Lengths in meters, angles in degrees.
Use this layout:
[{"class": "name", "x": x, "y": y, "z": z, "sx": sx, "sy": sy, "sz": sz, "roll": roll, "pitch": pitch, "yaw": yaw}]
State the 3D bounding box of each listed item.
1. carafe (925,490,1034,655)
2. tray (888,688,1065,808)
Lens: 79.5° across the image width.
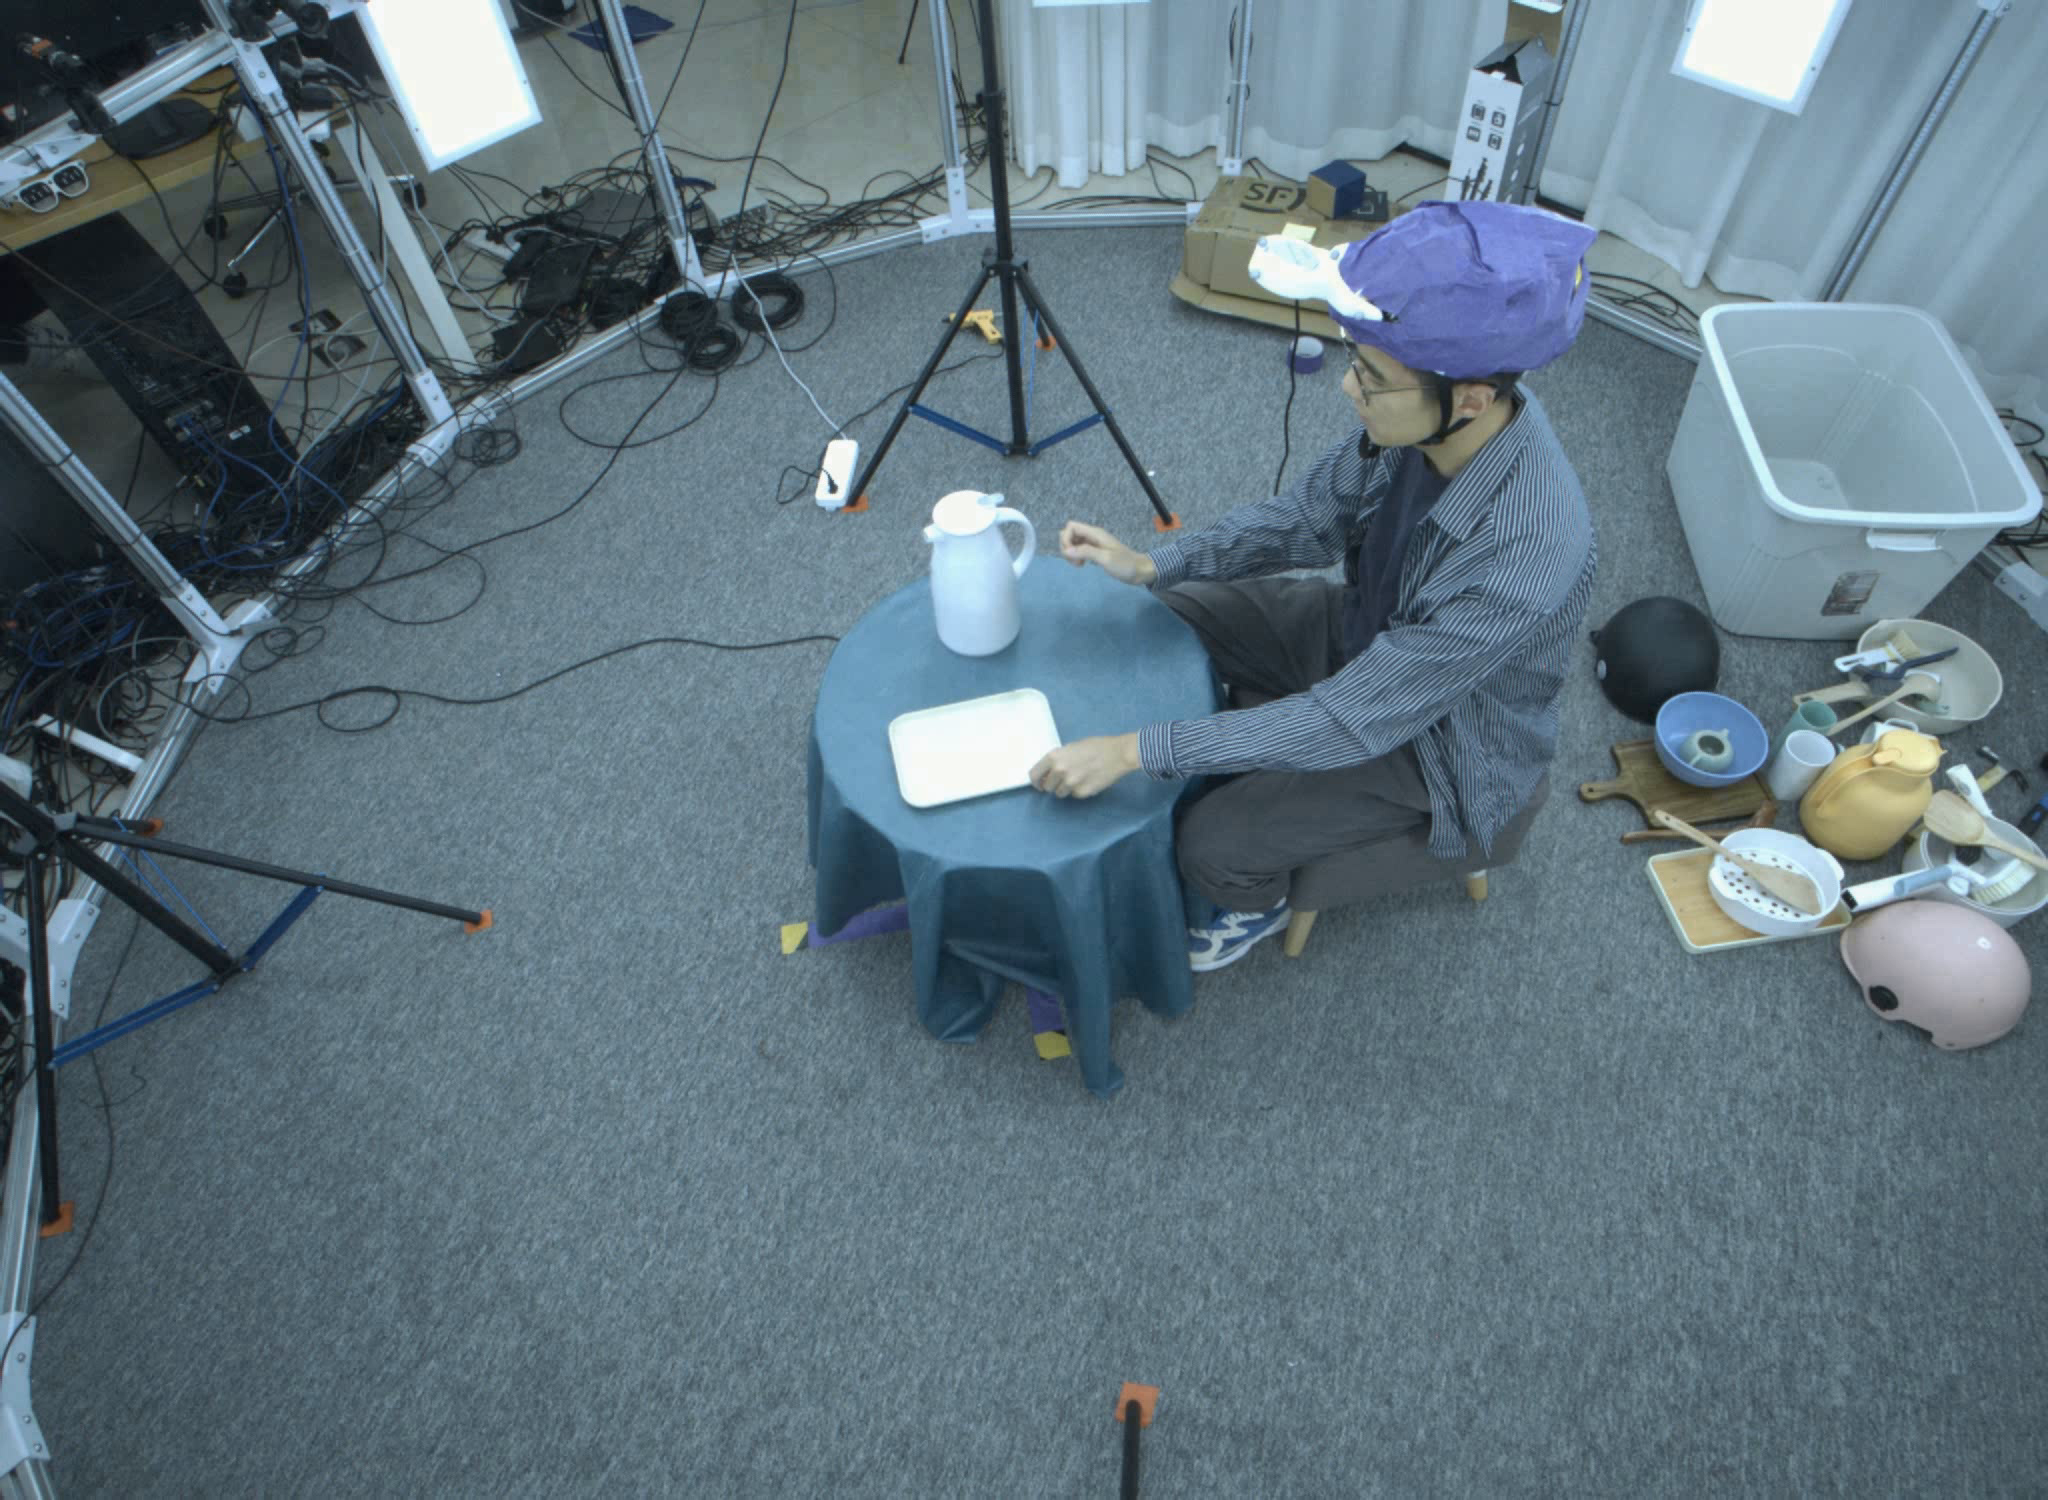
[{"class": "carafe", "x": -0.062, "y": -0.280, "z": 1.837, "sx": 0.169, "sy": 0.251, "sz": 0.130, "roll": -26, "pitch": 56, "yaw": -16}, {"class": "tray", "x": -0.070, "y": -0.003, "z": 1.786, "sx": 0.241, "sy": 0.017, "sz": 0.168, "roll": -12, "pitch": 56, "yaw": -7}]
